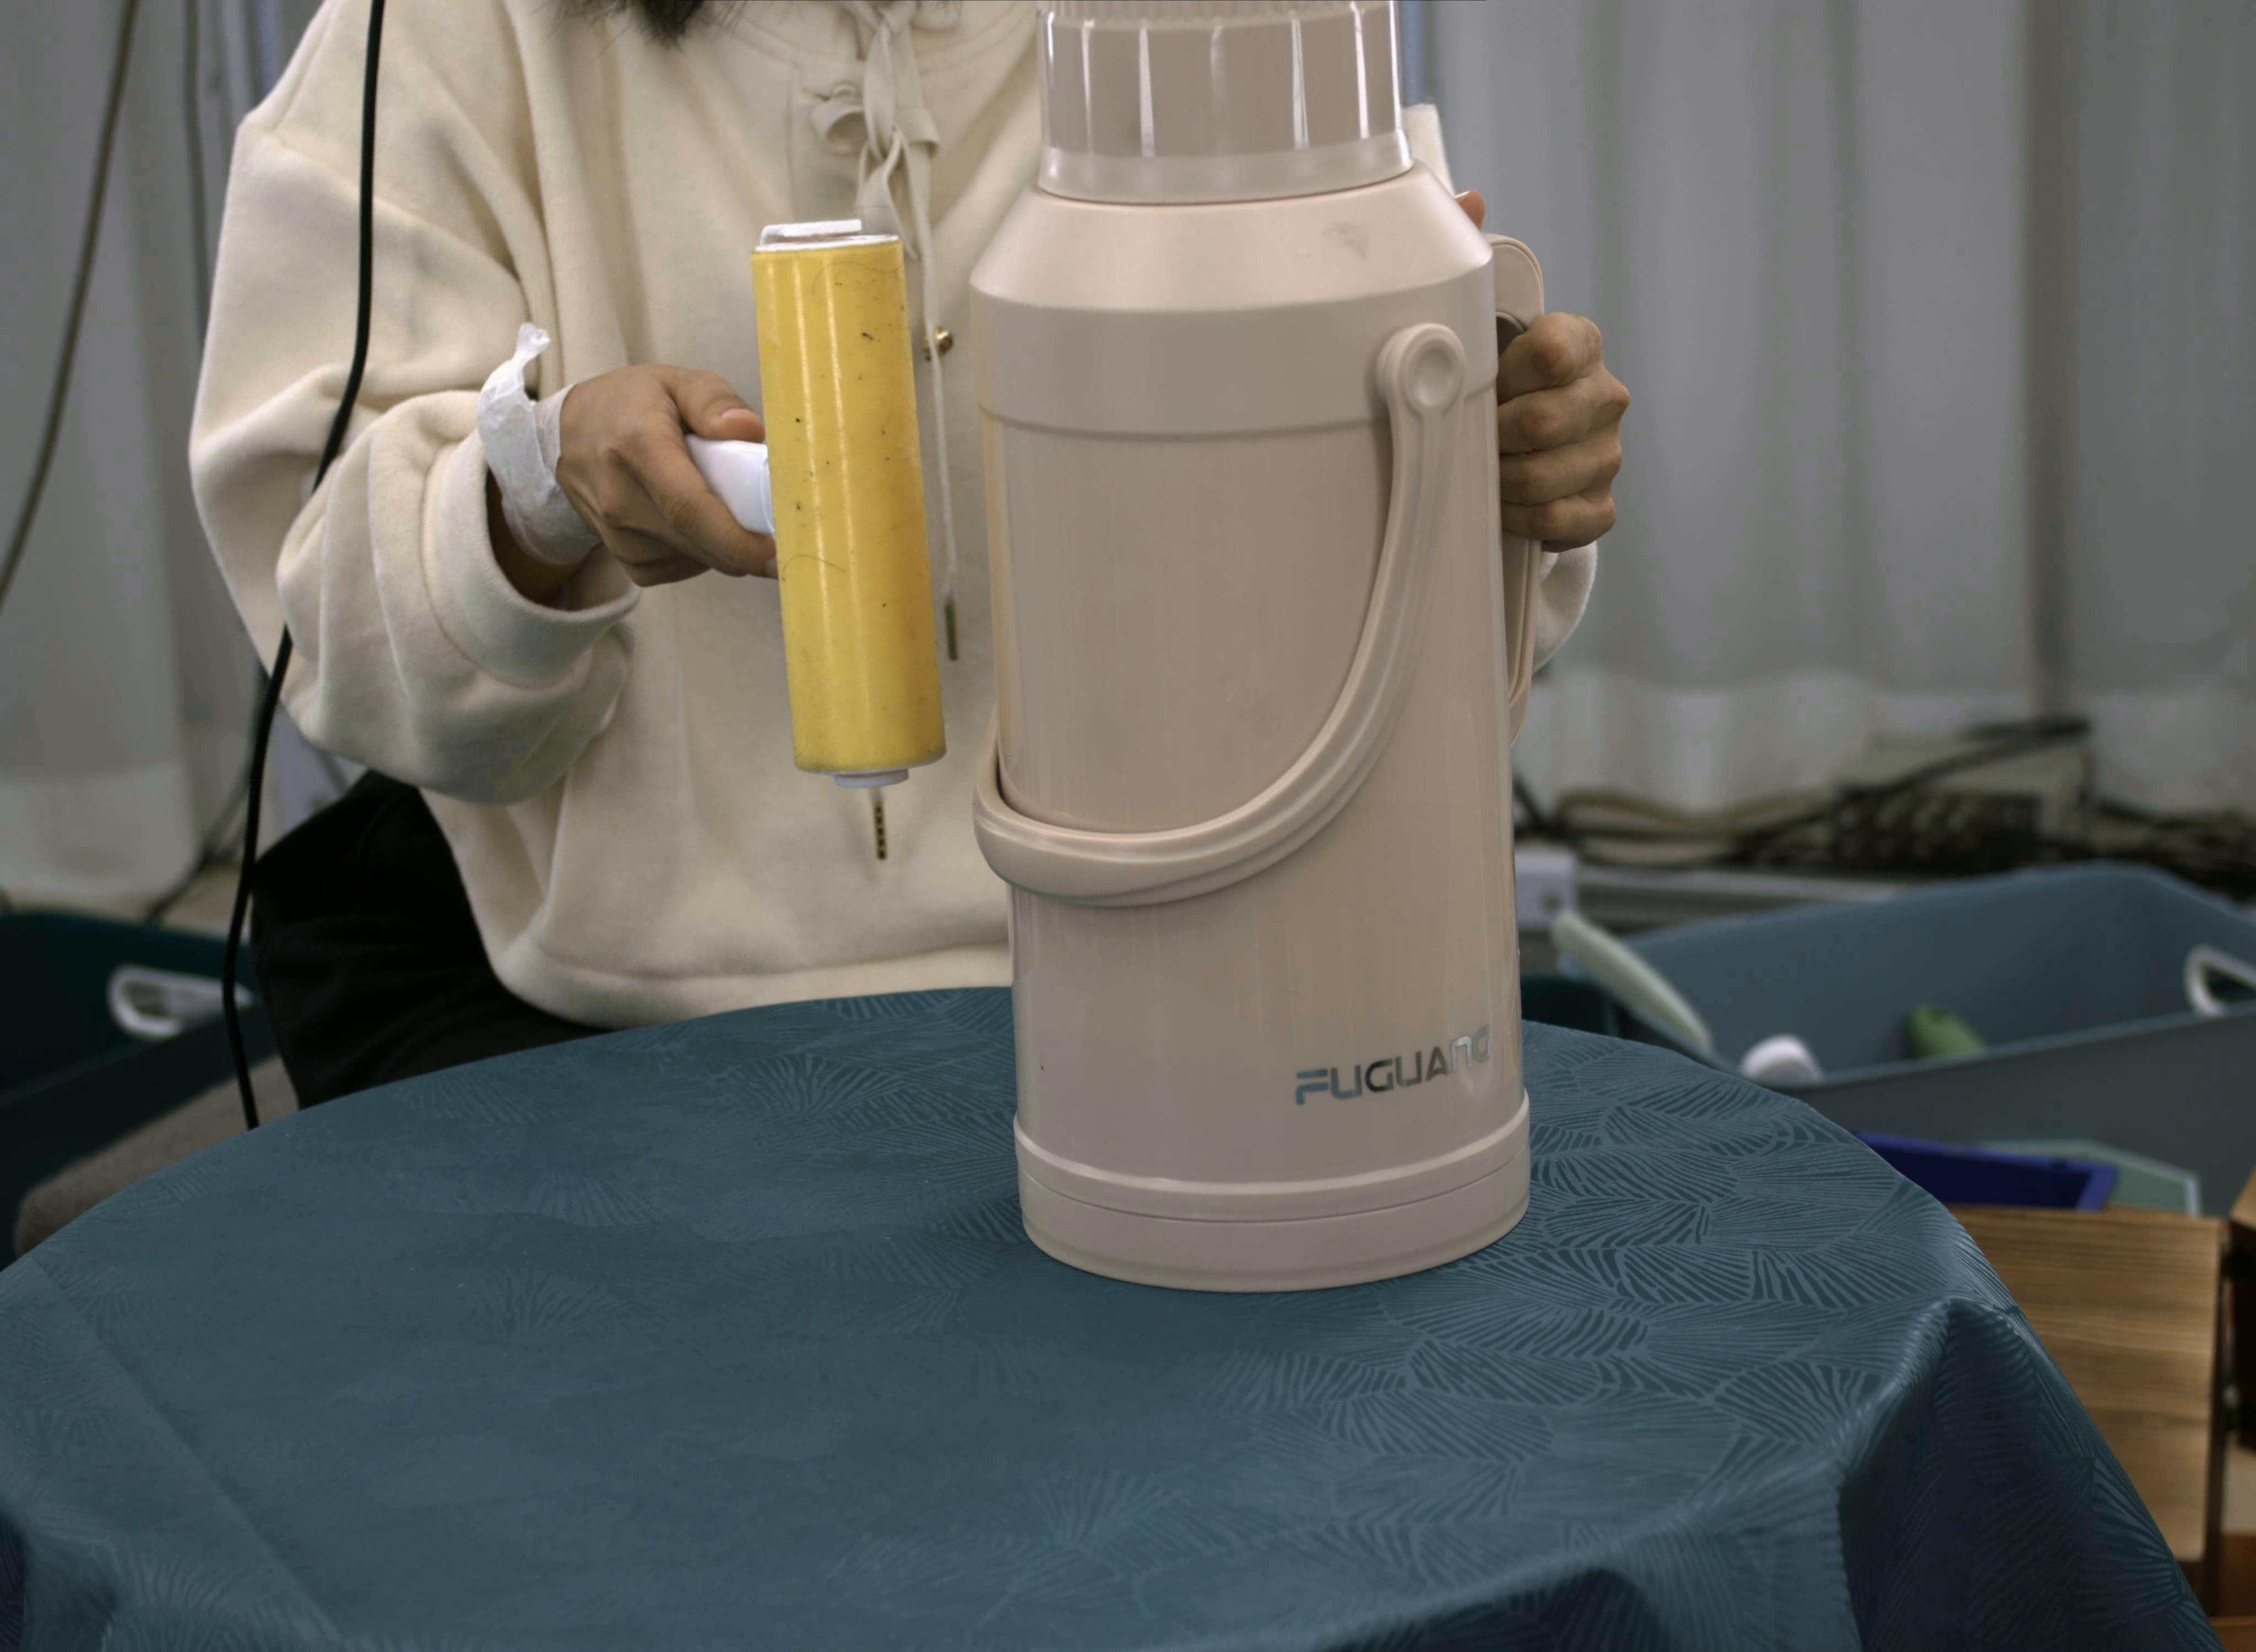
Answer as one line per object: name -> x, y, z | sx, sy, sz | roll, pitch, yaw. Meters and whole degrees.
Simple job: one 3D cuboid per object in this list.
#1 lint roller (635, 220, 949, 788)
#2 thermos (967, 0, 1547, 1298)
lint roller -> -0.123, -0.104, 1.745 | 0.051, 0.174, 0.193 | -9, 8, -34
thermos -> 0.046, -0.075, 1.654 | 0.206, 0.405, 0.176 | -13, 17, -38
